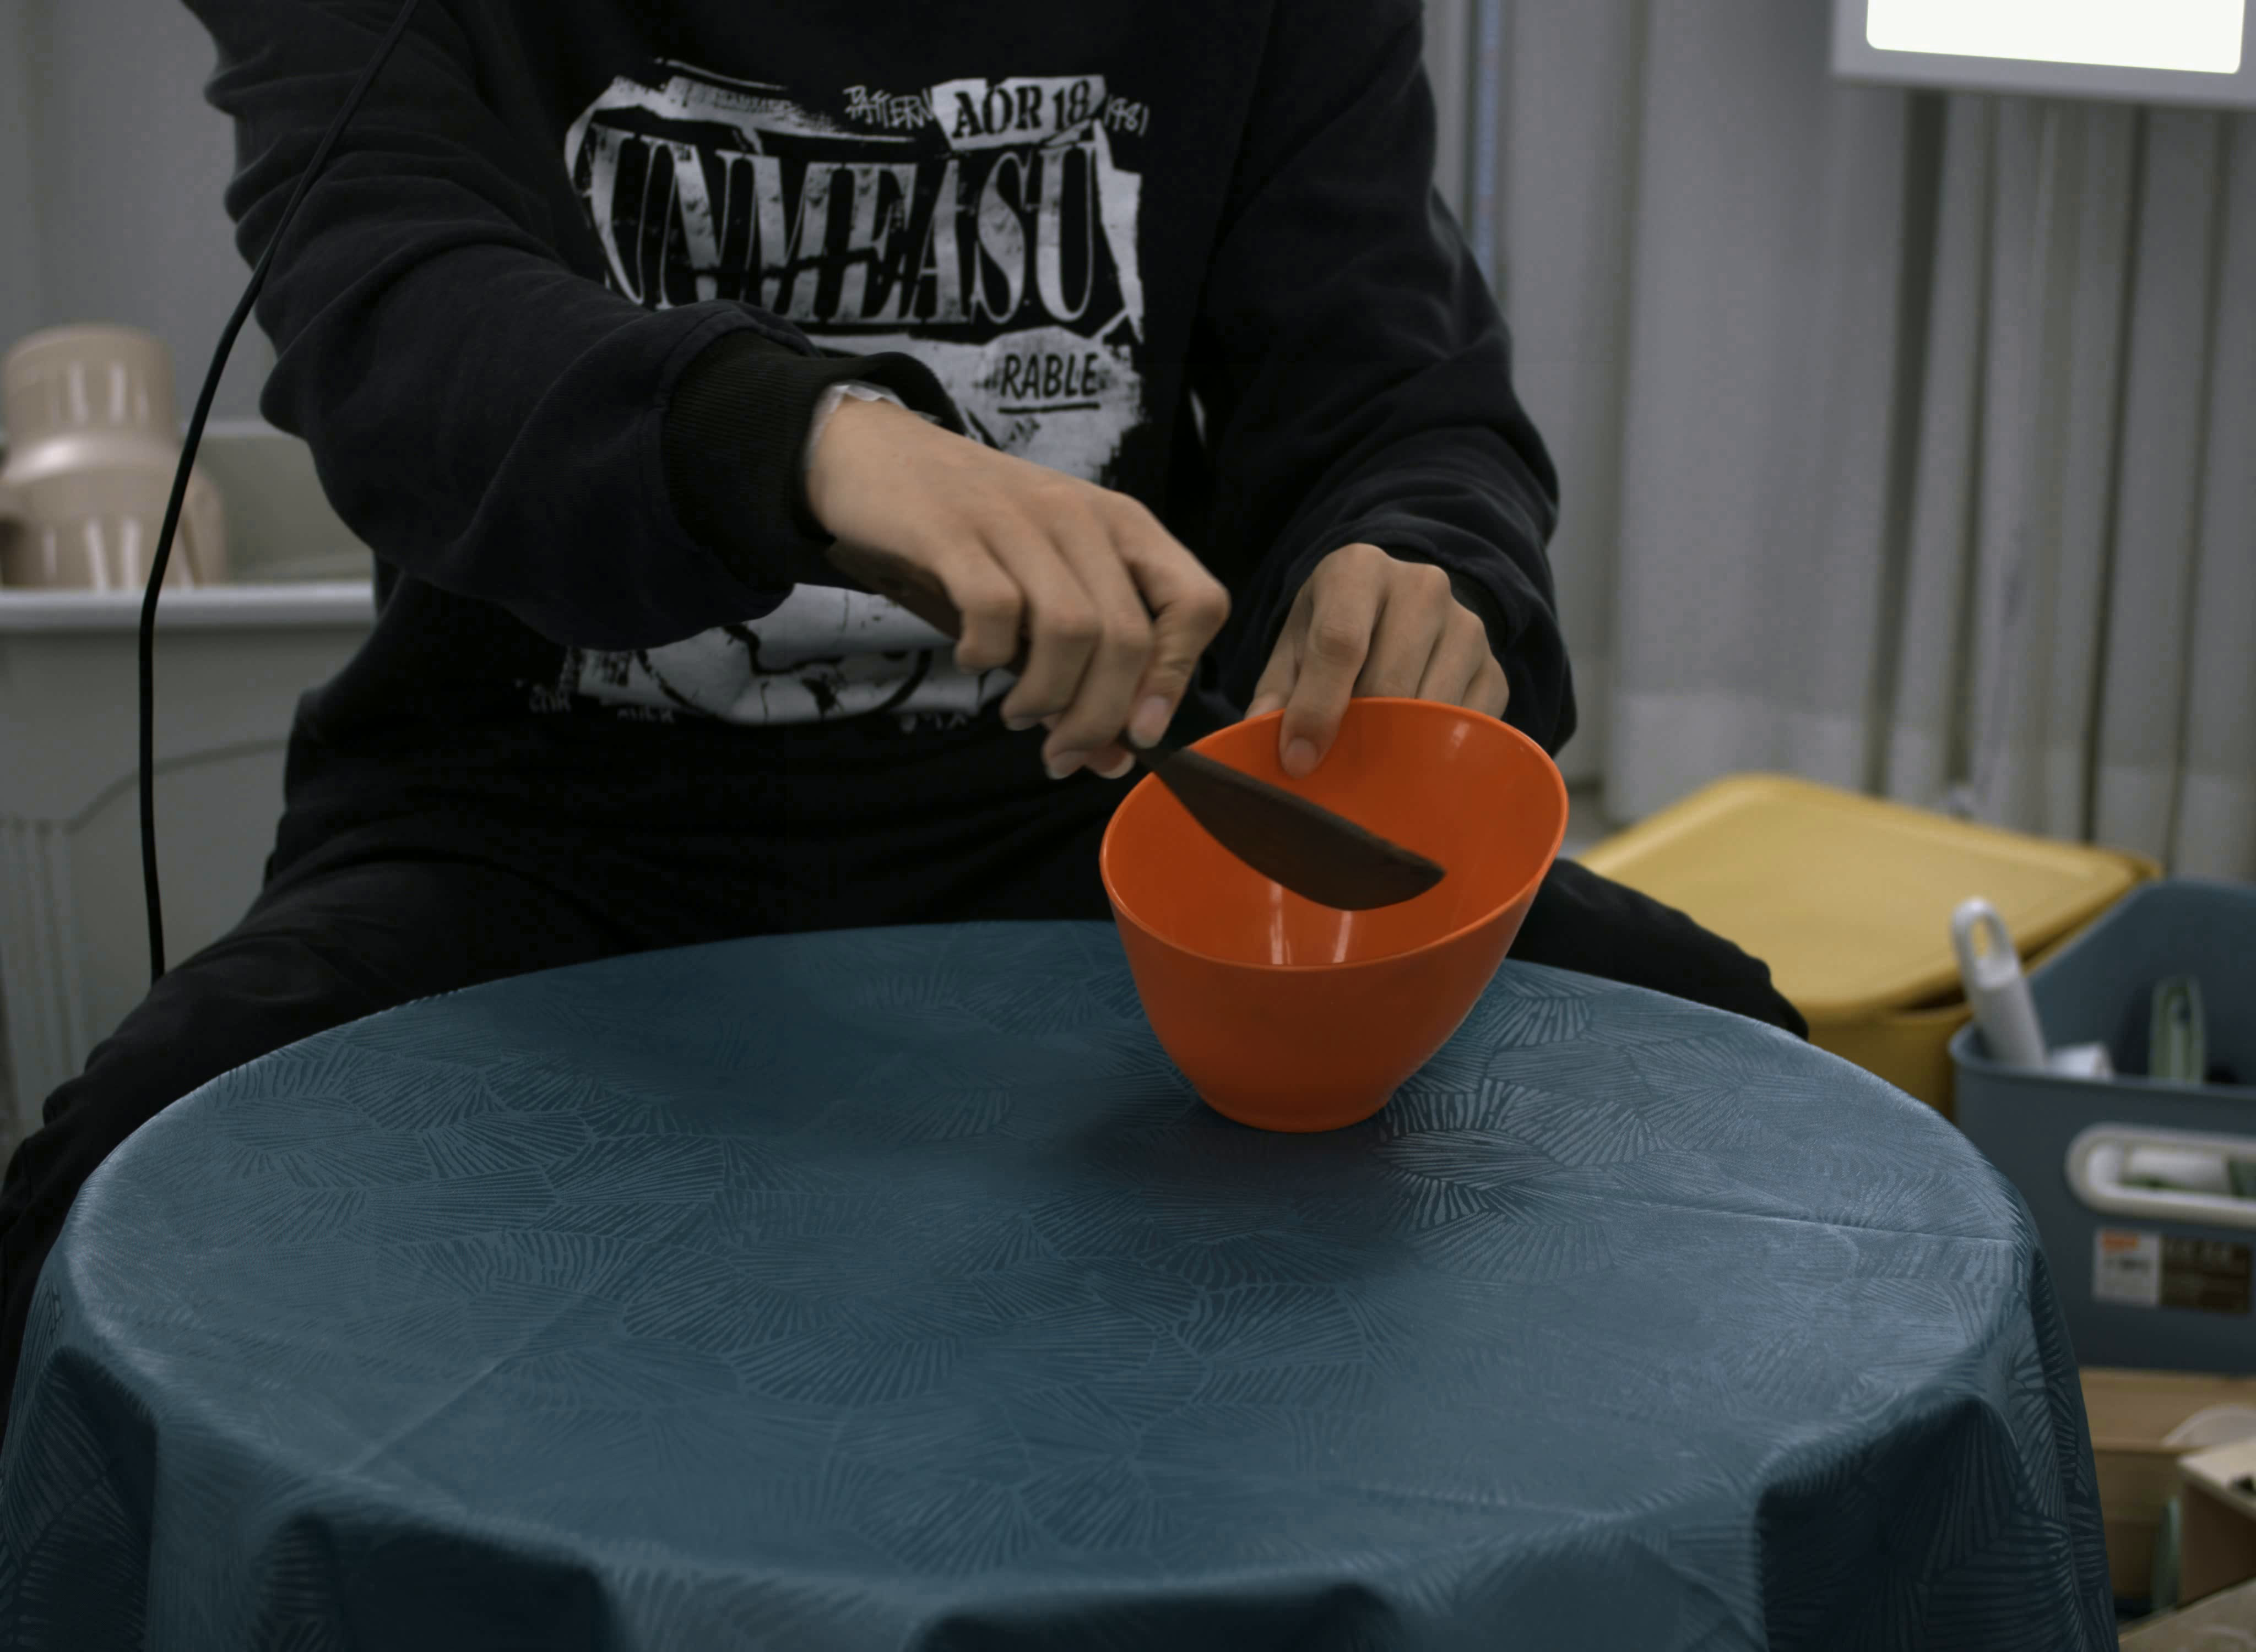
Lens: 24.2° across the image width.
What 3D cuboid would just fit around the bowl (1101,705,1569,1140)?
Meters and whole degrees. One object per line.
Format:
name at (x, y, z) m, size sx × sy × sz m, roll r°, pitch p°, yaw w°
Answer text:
bowl at (0.065, 0.038, 1.683) m, size 0.147 × 0.106 × 0.147 m, roll 2°, pitch 32°, yaw 0°

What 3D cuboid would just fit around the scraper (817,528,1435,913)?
scraper at (-0.004, -0.030, 1.586) m, size 0.212 × 0.011 × 0.075 m, roll 33°, pitch -20°, yaw -13°
